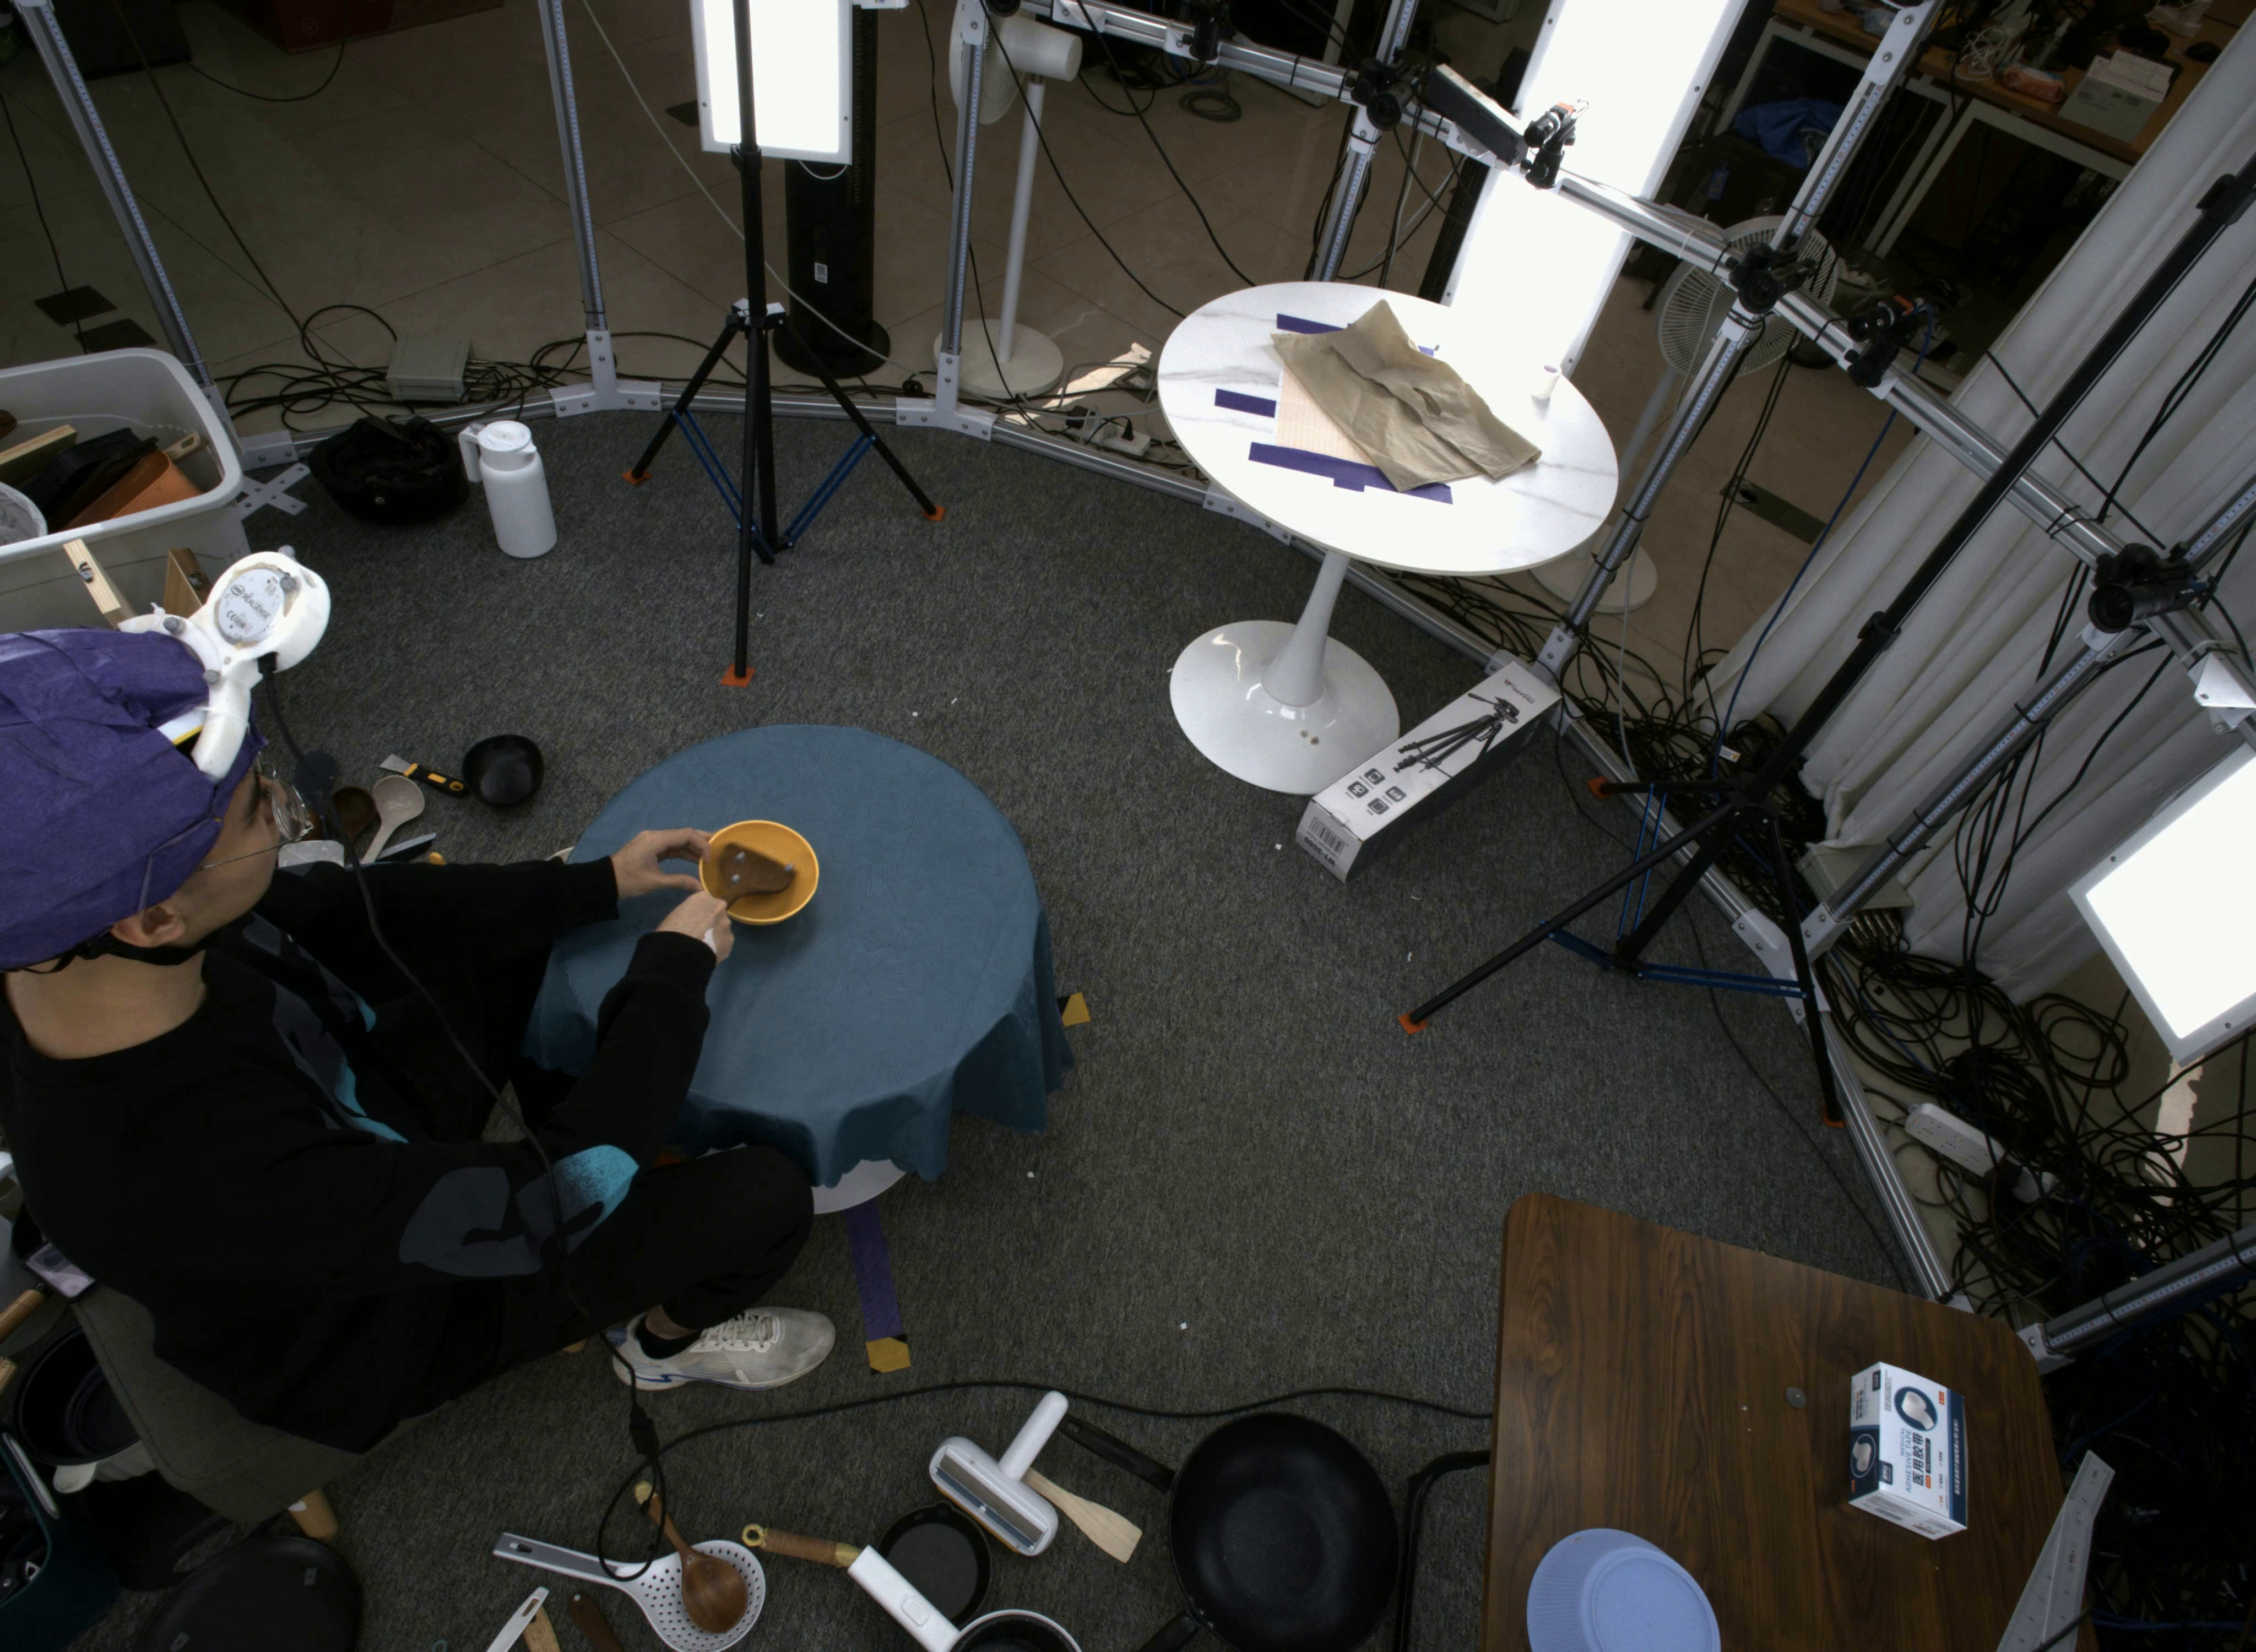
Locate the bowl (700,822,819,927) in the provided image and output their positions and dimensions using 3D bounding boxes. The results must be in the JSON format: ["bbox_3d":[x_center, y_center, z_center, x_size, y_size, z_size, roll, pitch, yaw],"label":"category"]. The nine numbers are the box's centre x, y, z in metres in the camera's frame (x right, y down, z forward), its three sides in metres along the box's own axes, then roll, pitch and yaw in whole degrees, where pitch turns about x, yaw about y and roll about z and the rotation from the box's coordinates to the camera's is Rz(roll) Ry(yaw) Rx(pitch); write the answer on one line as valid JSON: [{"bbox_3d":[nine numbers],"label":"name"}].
[{"bbox_3d":[-0.460,0.069,1.616,0.146,0.061,0.143,10,55,-13],"label":"bowl"}]

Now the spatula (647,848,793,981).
[{"bbox_3d":[-0.468,0.095,1.460,0.096,0.016,0.380,26,14,-6],"label":"spatula"}]
